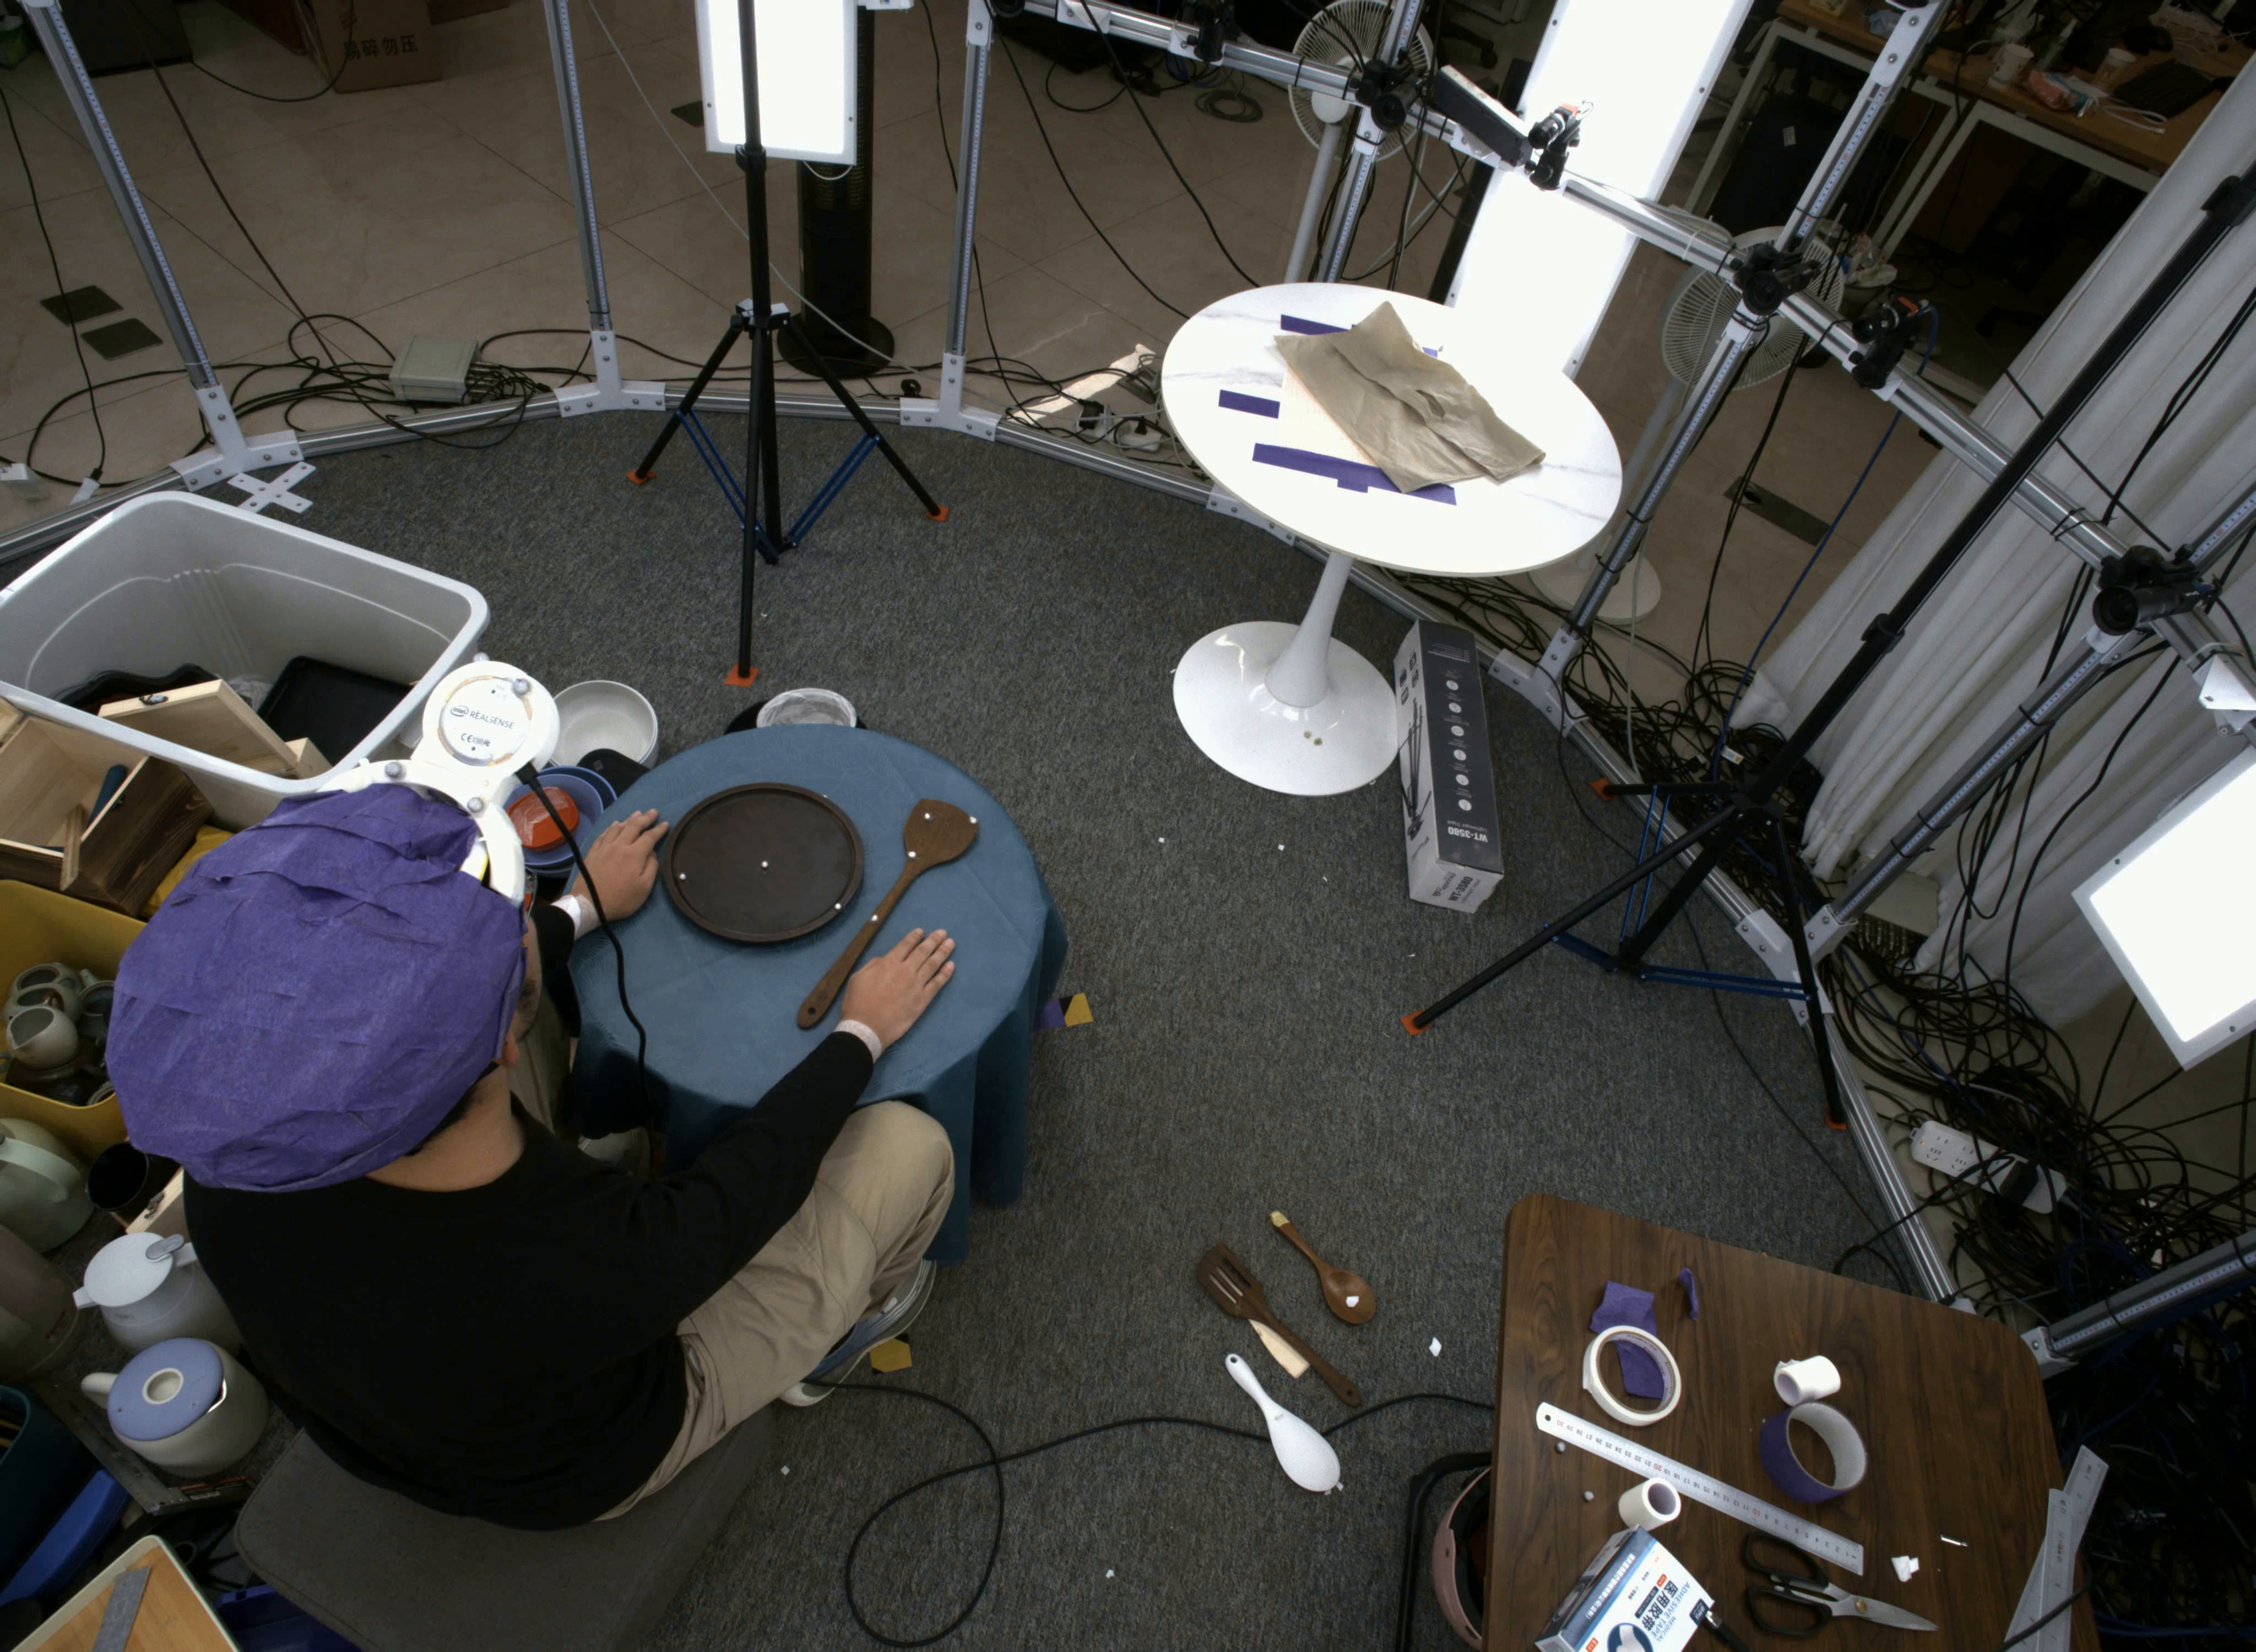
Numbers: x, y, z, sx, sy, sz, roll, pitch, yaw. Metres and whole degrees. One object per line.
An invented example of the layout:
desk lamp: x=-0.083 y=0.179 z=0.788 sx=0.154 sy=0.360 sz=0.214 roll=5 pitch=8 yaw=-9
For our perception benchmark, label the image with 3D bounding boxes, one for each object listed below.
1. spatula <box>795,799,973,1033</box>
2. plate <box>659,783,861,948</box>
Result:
spatula: x=-0.317 y=0.107 z=1.658 sx=0.095 sy=0.016 sz=0.383 roll=25 pitch=52 yaw=5
plate: x=-0.470 y=0.047 z=1.656 sx=0.254 sy=0.029 sz=0.250 roll=9 pitch=53 yaw=-10
